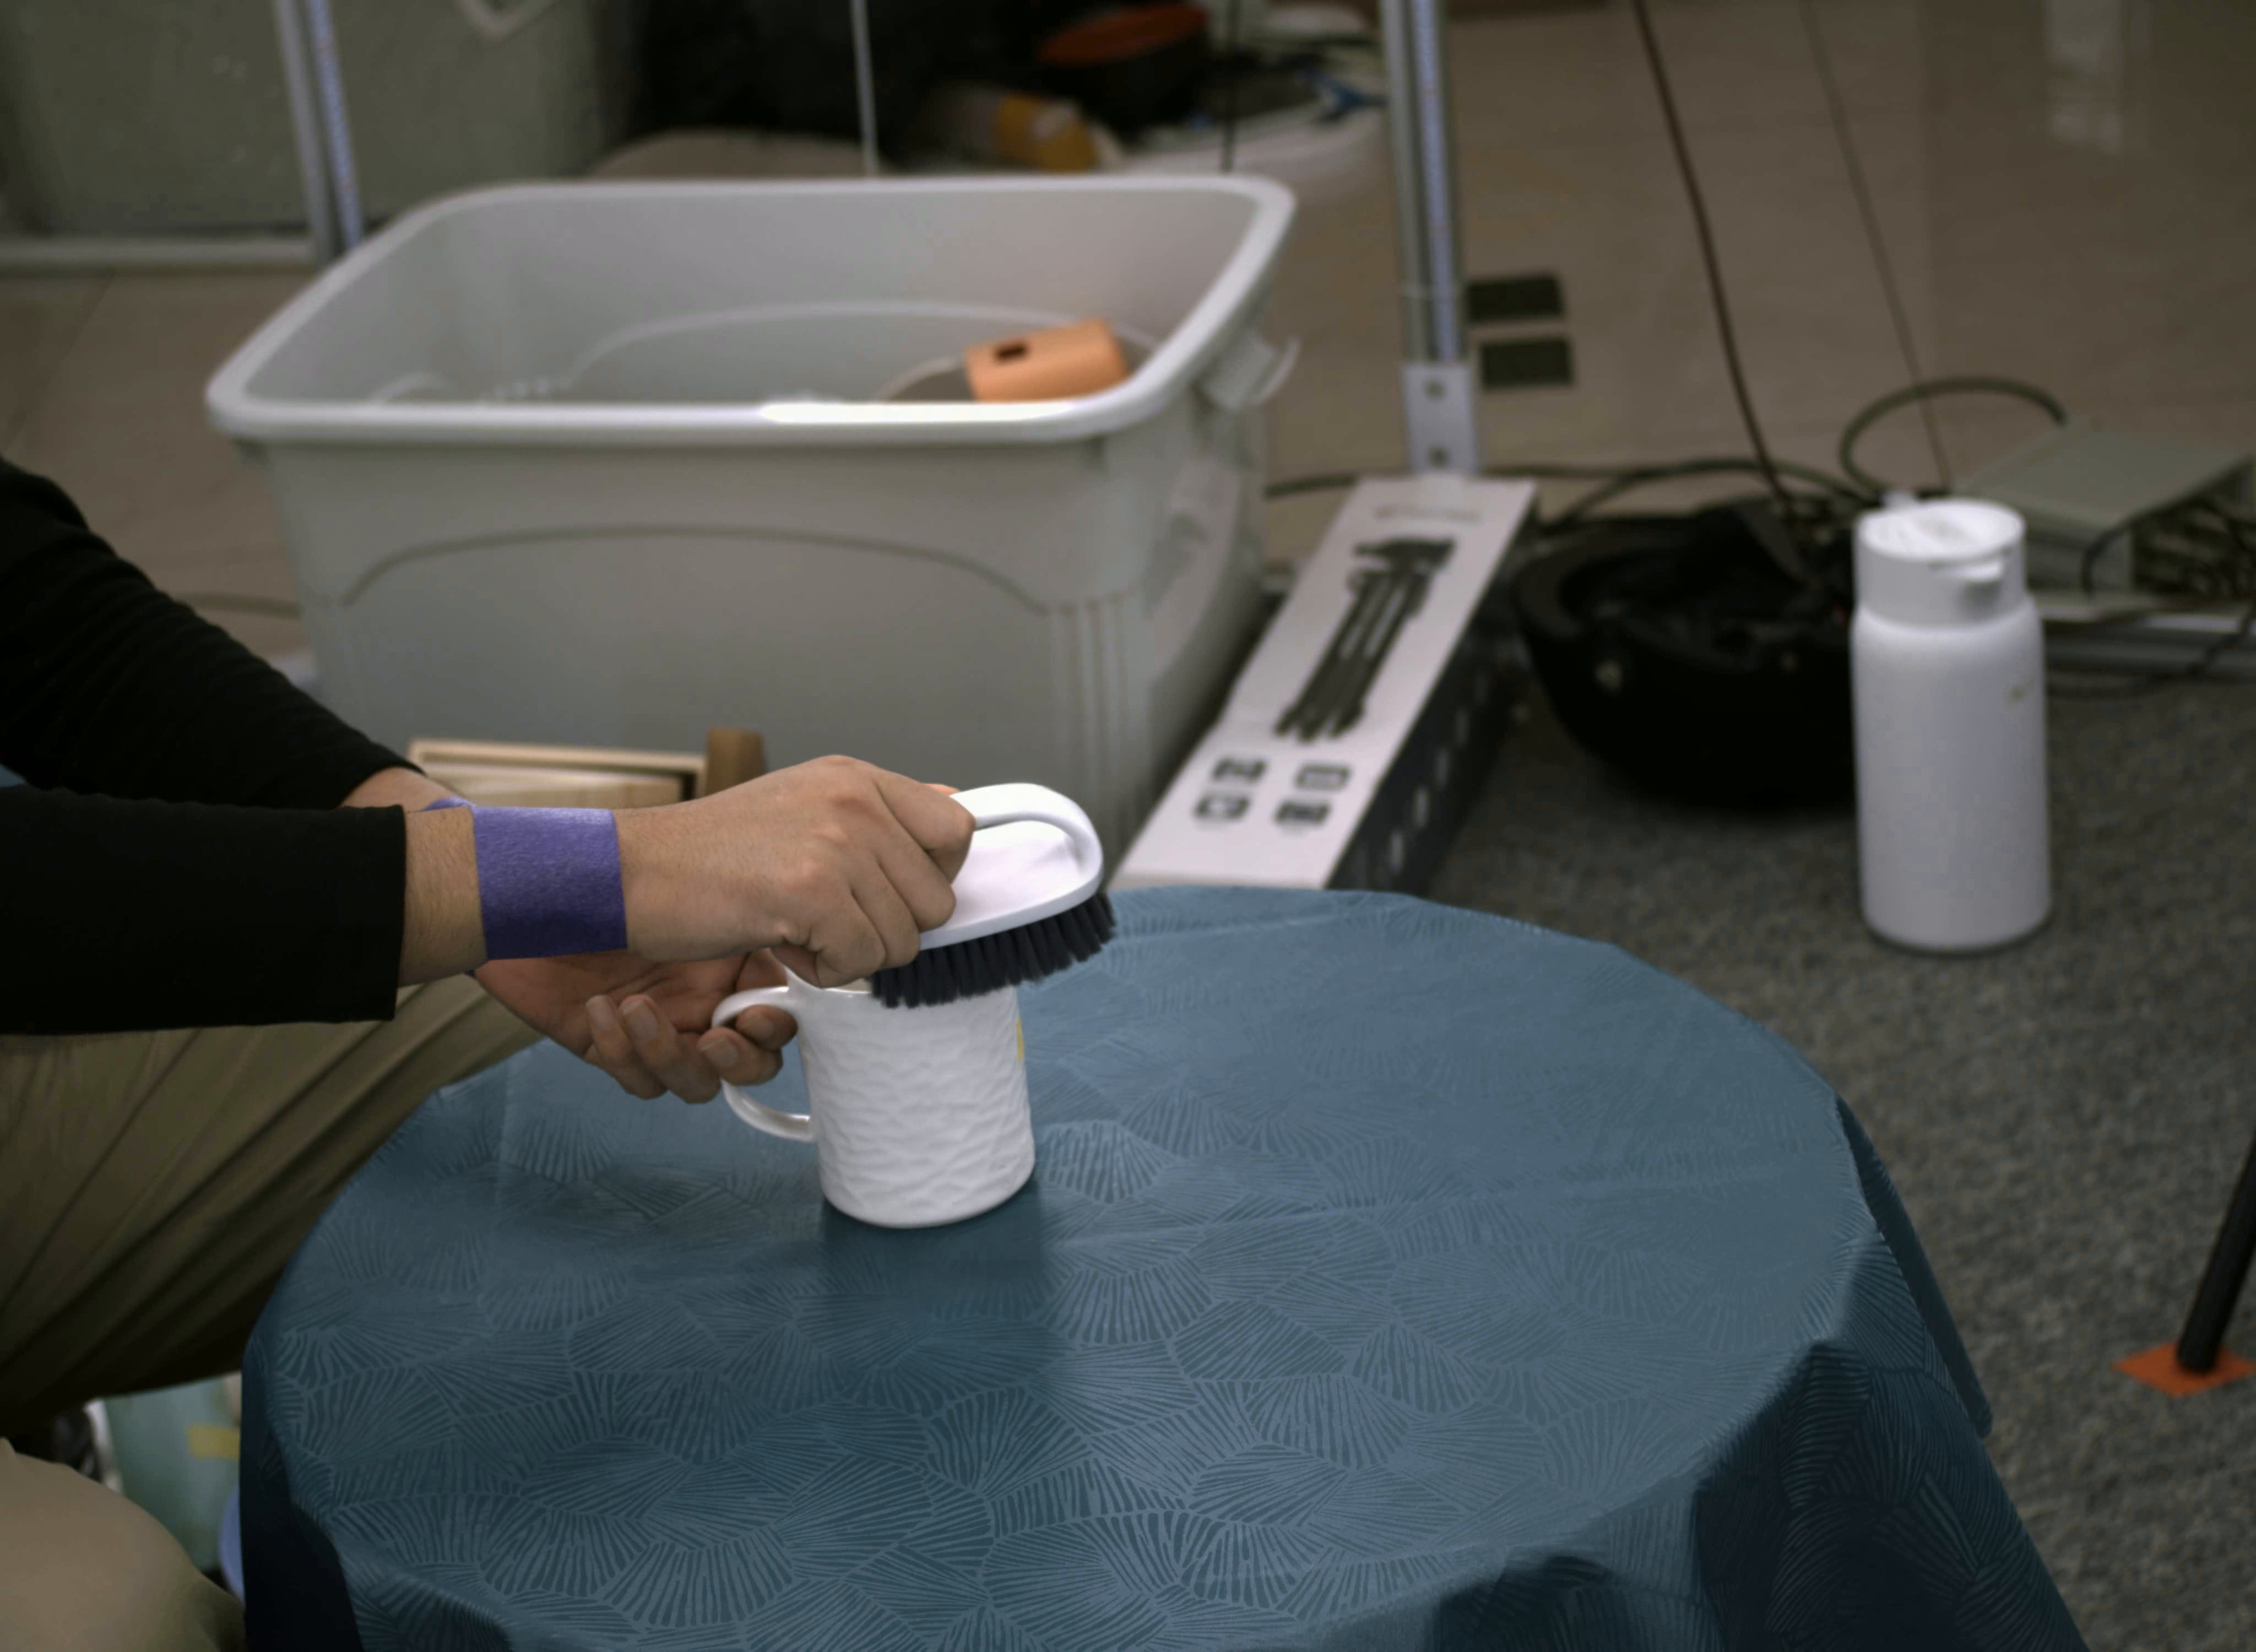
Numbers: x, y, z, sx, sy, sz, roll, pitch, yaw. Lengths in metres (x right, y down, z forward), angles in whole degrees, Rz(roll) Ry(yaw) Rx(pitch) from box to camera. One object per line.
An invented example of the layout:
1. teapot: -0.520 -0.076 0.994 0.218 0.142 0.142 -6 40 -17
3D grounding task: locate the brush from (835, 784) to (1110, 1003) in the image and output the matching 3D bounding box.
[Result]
1. brush: -0.059 0.018 2.073 0.099 0.074 0.049 -12 43 -5

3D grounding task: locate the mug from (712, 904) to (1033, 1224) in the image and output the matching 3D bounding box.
1. mug: -0.097 0.089 2.149 0.118 0.103 0.083 -3 27 4
